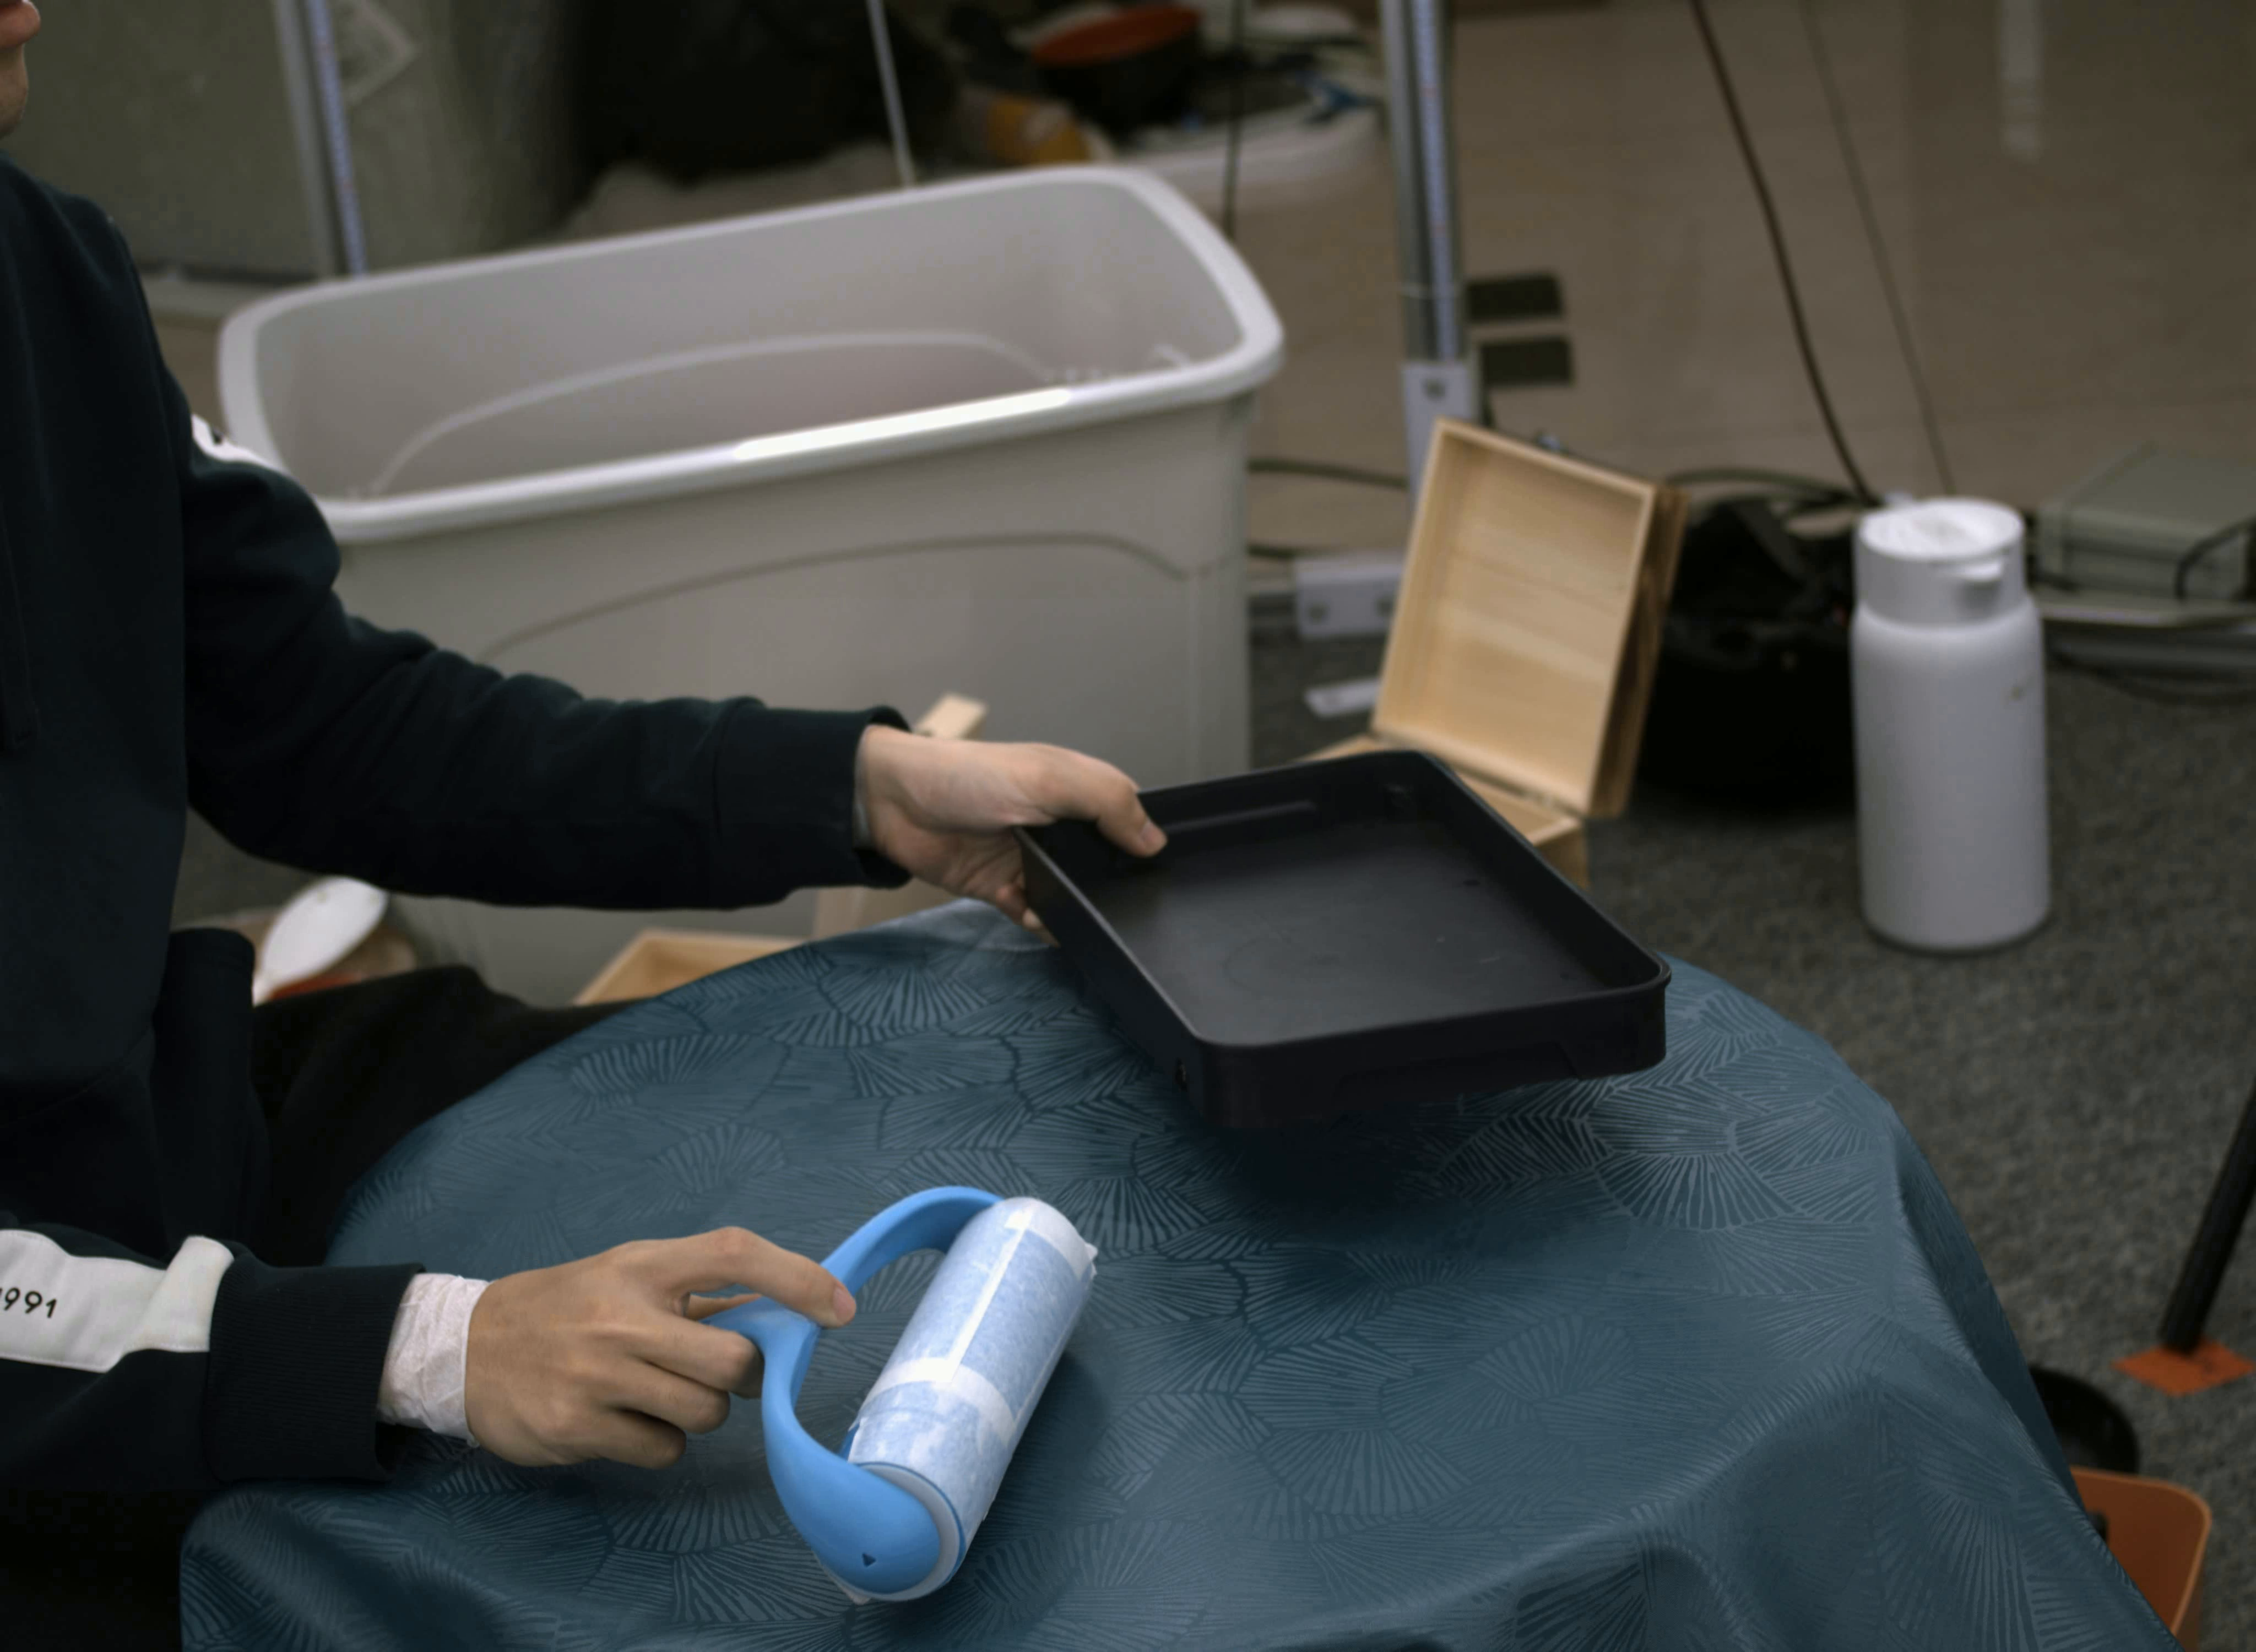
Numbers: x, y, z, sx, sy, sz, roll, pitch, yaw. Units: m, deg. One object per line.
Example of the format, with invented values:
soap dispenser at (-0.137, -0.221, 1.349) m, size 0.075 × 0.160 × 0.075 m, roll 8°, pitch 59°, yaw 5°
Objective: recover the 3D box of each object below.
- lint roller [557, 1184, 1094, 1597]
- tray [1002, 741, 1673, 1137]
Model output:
lint roller at (-0.116, 0.195, 1.969) m, size 0.180 × 0.069 × 0.226 m, roll -2°, pitch 24°, yaw 11°
tray at (0.076, 0.039, 2.203) m, size 0.184 × 0.037 × 0.314 m, roll -10°, pitch 20°, yaw -14°
